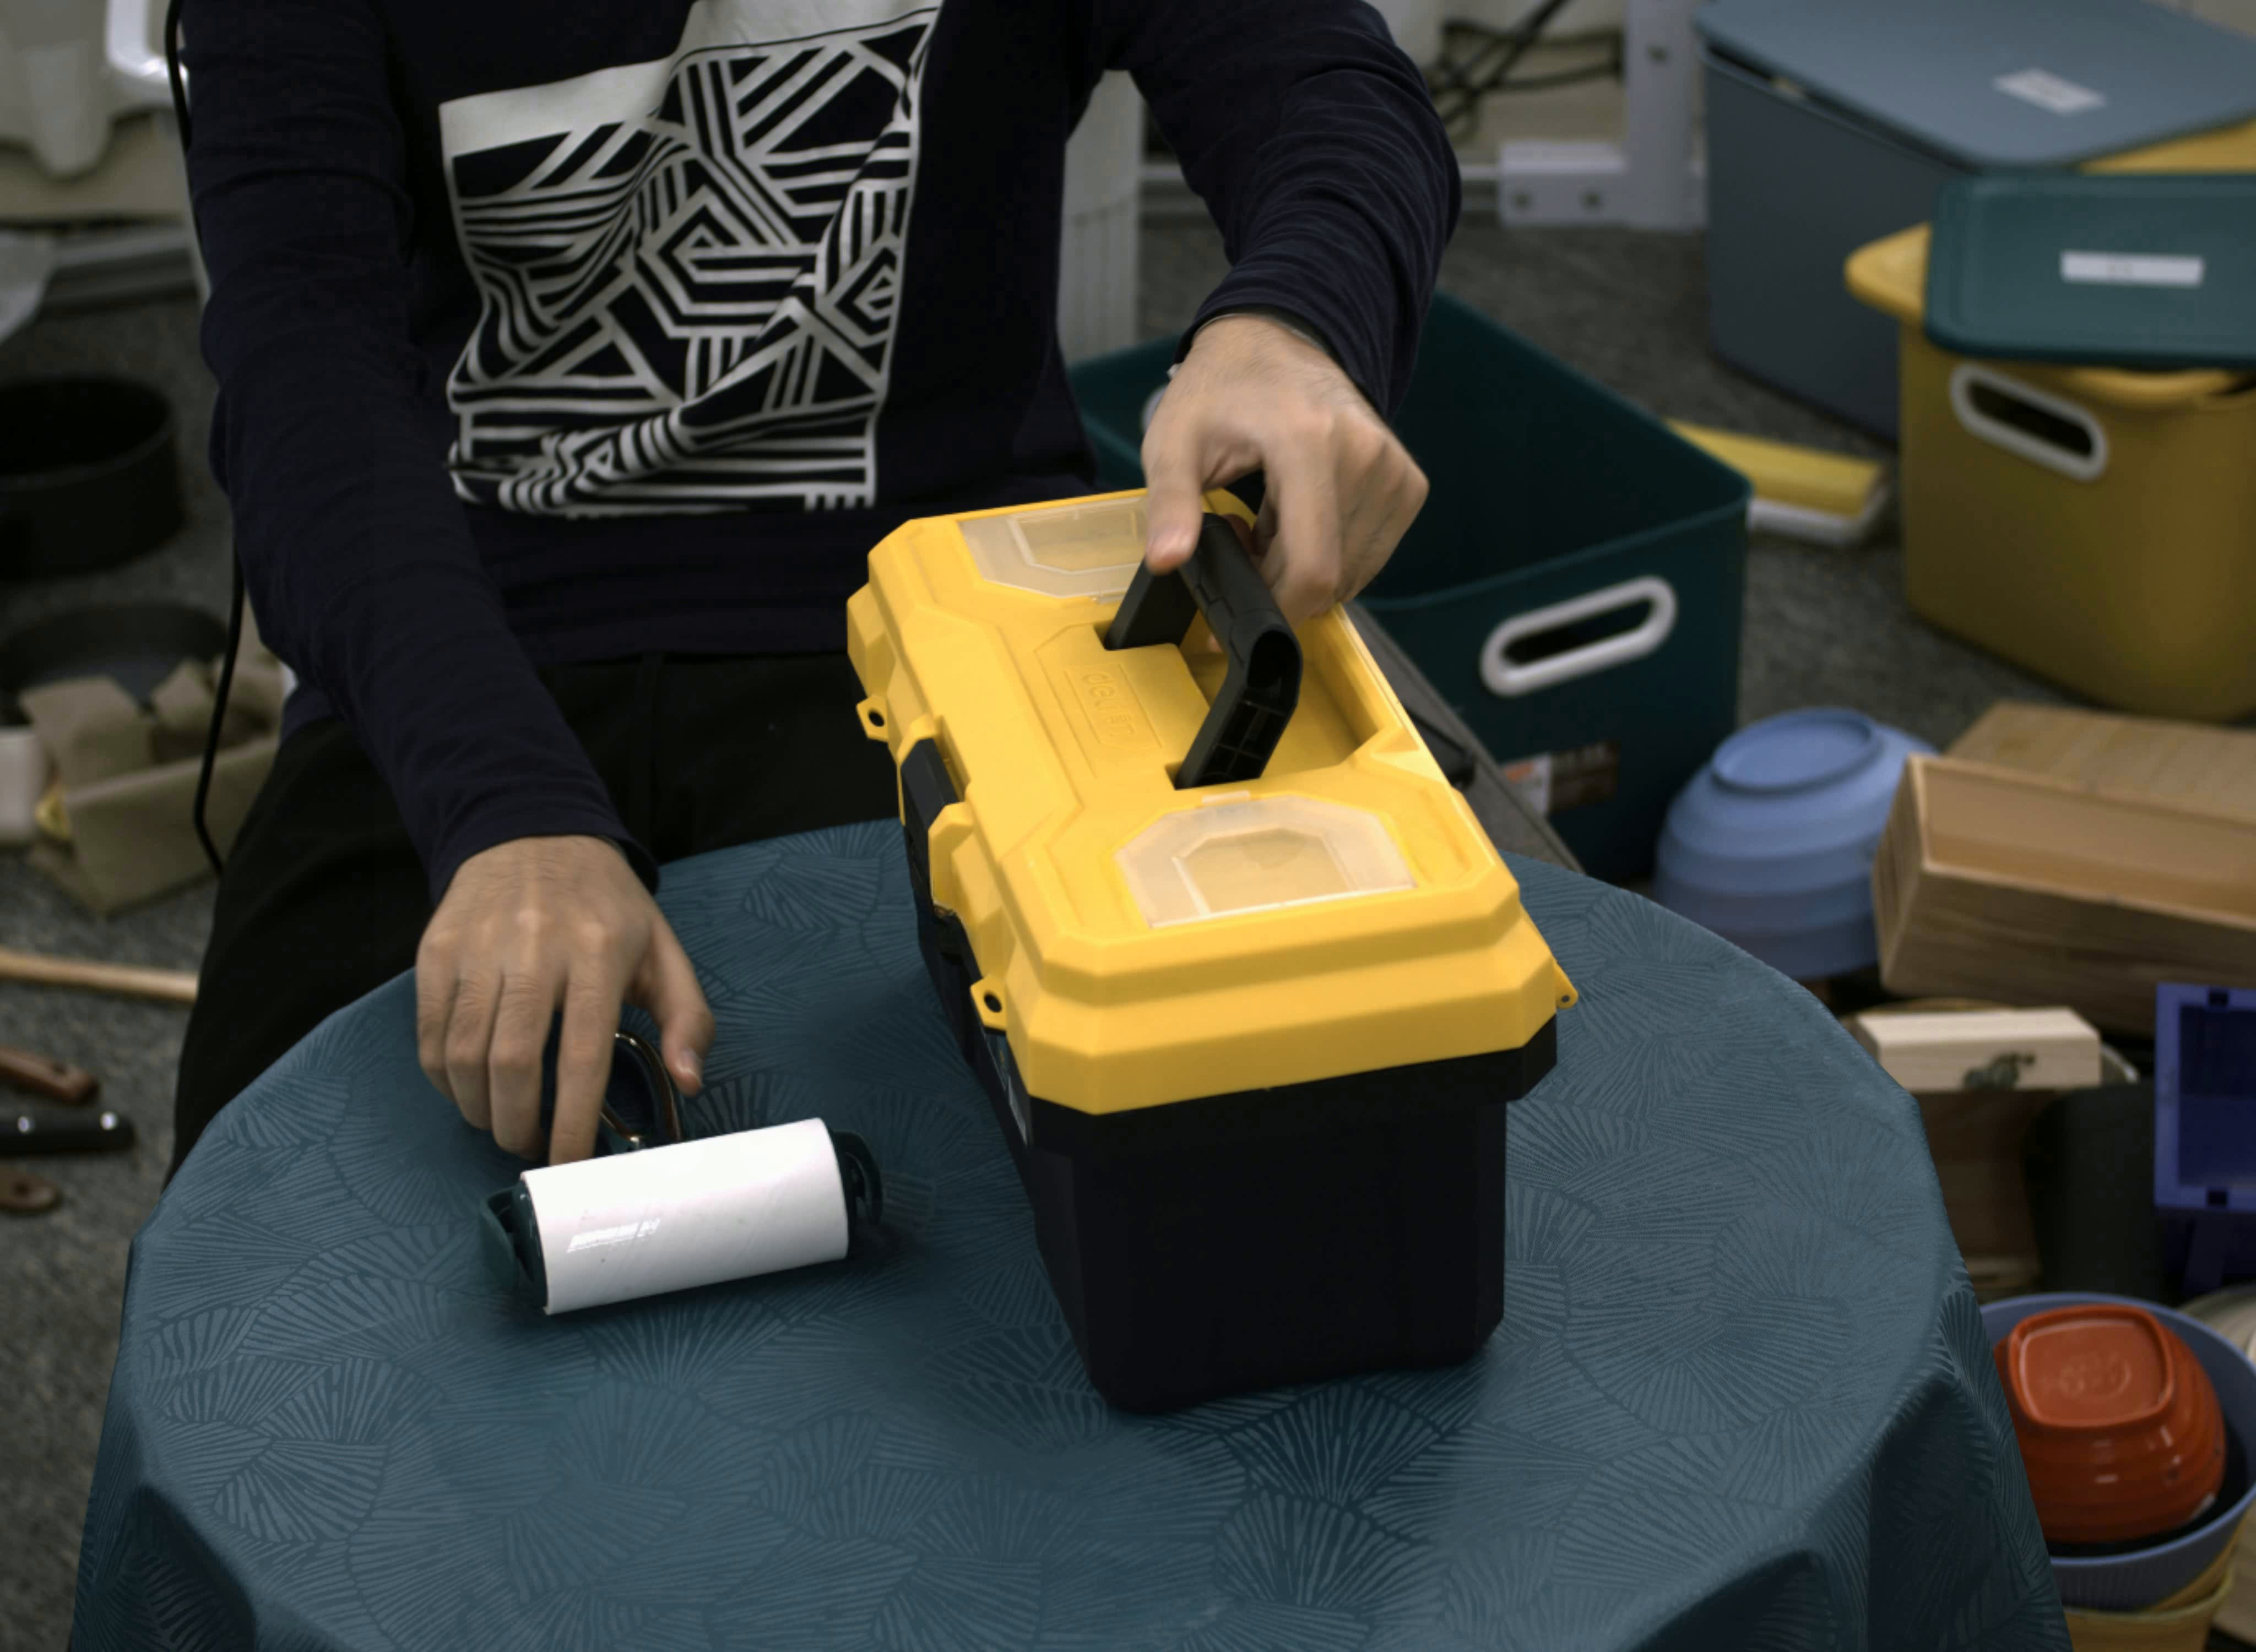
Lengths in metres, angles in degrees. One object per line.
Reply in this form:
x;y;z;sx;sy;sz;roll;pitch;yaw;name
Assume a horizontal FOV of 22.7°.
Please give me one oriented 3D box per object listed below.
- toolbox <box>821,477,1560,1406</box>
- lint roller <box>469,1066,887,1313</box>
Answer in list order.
0.015;0.031;1.849;0.181;0.171;0.355;-8;27;-10;toolbox
-0.163;0.101;1.874;0.134;0.048;0.181;-10;24;-13;lint roller
